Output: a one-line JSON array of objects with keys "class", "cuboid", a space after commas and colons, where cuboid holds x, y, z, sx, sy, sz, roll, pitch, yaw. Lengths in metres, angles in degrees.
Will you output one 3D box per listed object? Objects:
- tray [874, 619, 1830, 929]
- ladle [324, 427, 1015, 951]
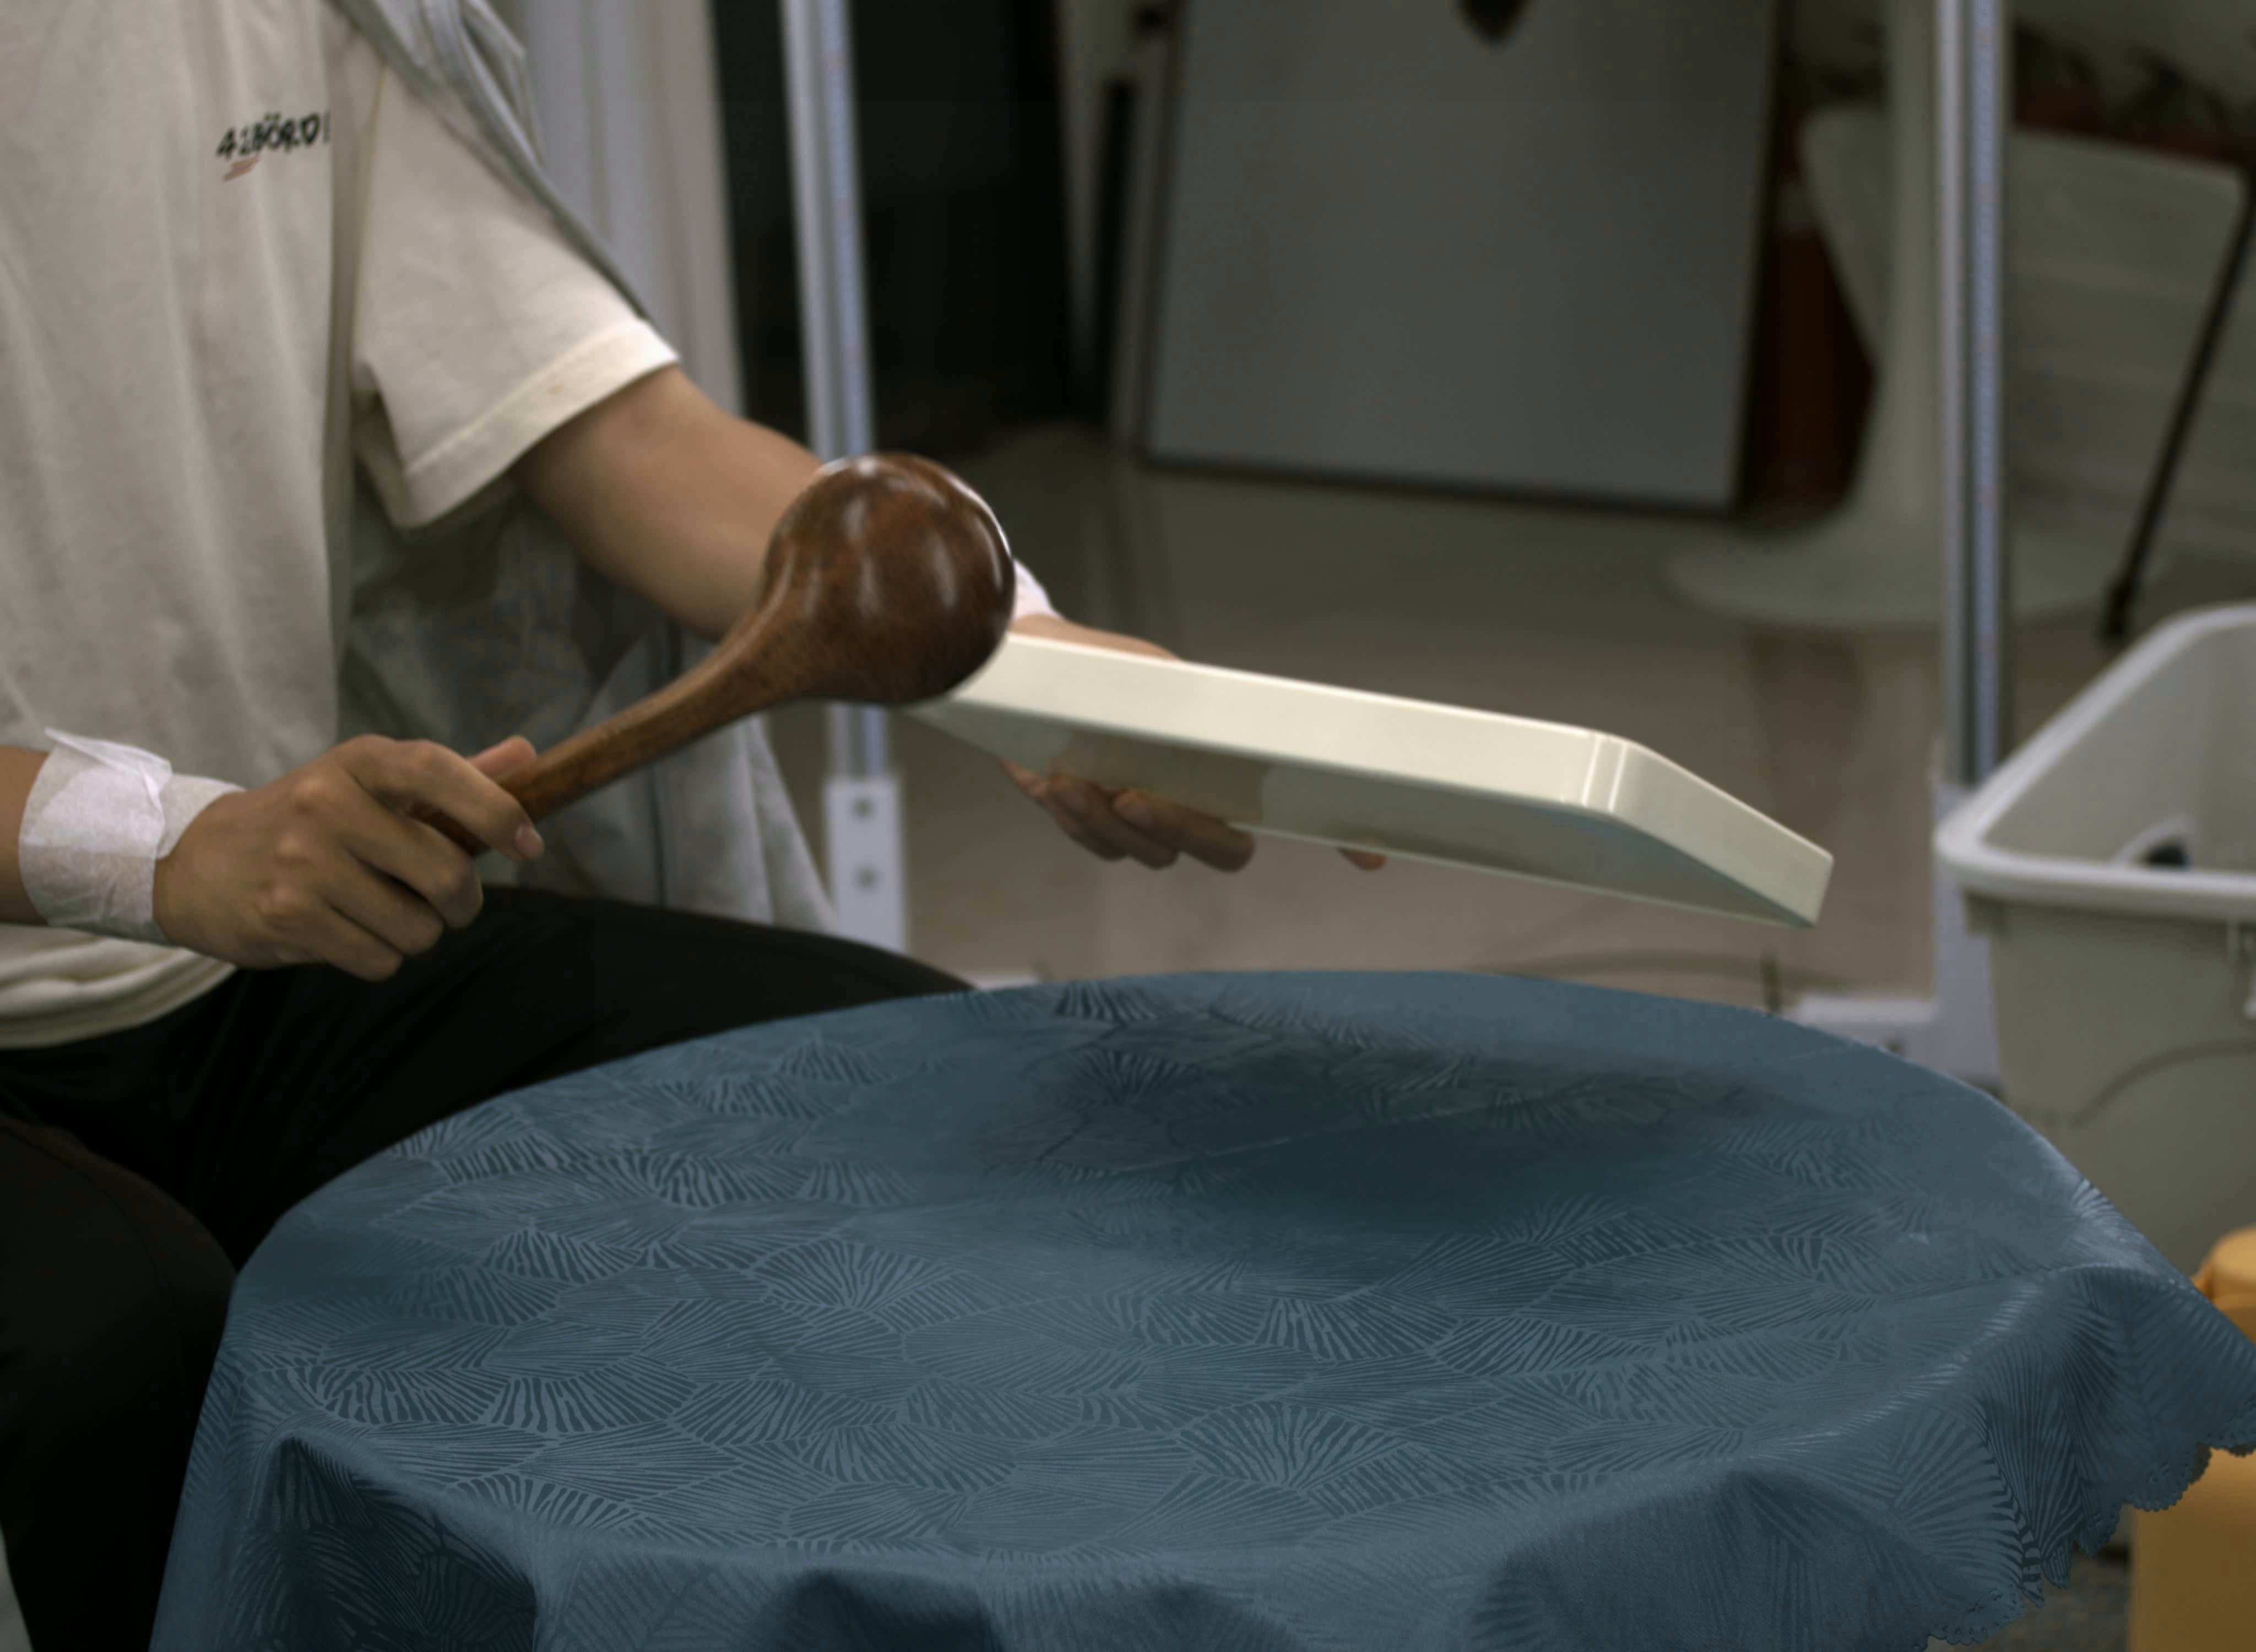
[{"class": "tray", "cuboid": [0.073, -0.019, 1.833, 0.302, 0.028, 0.188, 10, -9, 33]}, {"class": "ladle", "cuboid": [-0.151, -0.039, 1.744, 0.276, 0.082, 0.075, -30, 3, 34]}]
